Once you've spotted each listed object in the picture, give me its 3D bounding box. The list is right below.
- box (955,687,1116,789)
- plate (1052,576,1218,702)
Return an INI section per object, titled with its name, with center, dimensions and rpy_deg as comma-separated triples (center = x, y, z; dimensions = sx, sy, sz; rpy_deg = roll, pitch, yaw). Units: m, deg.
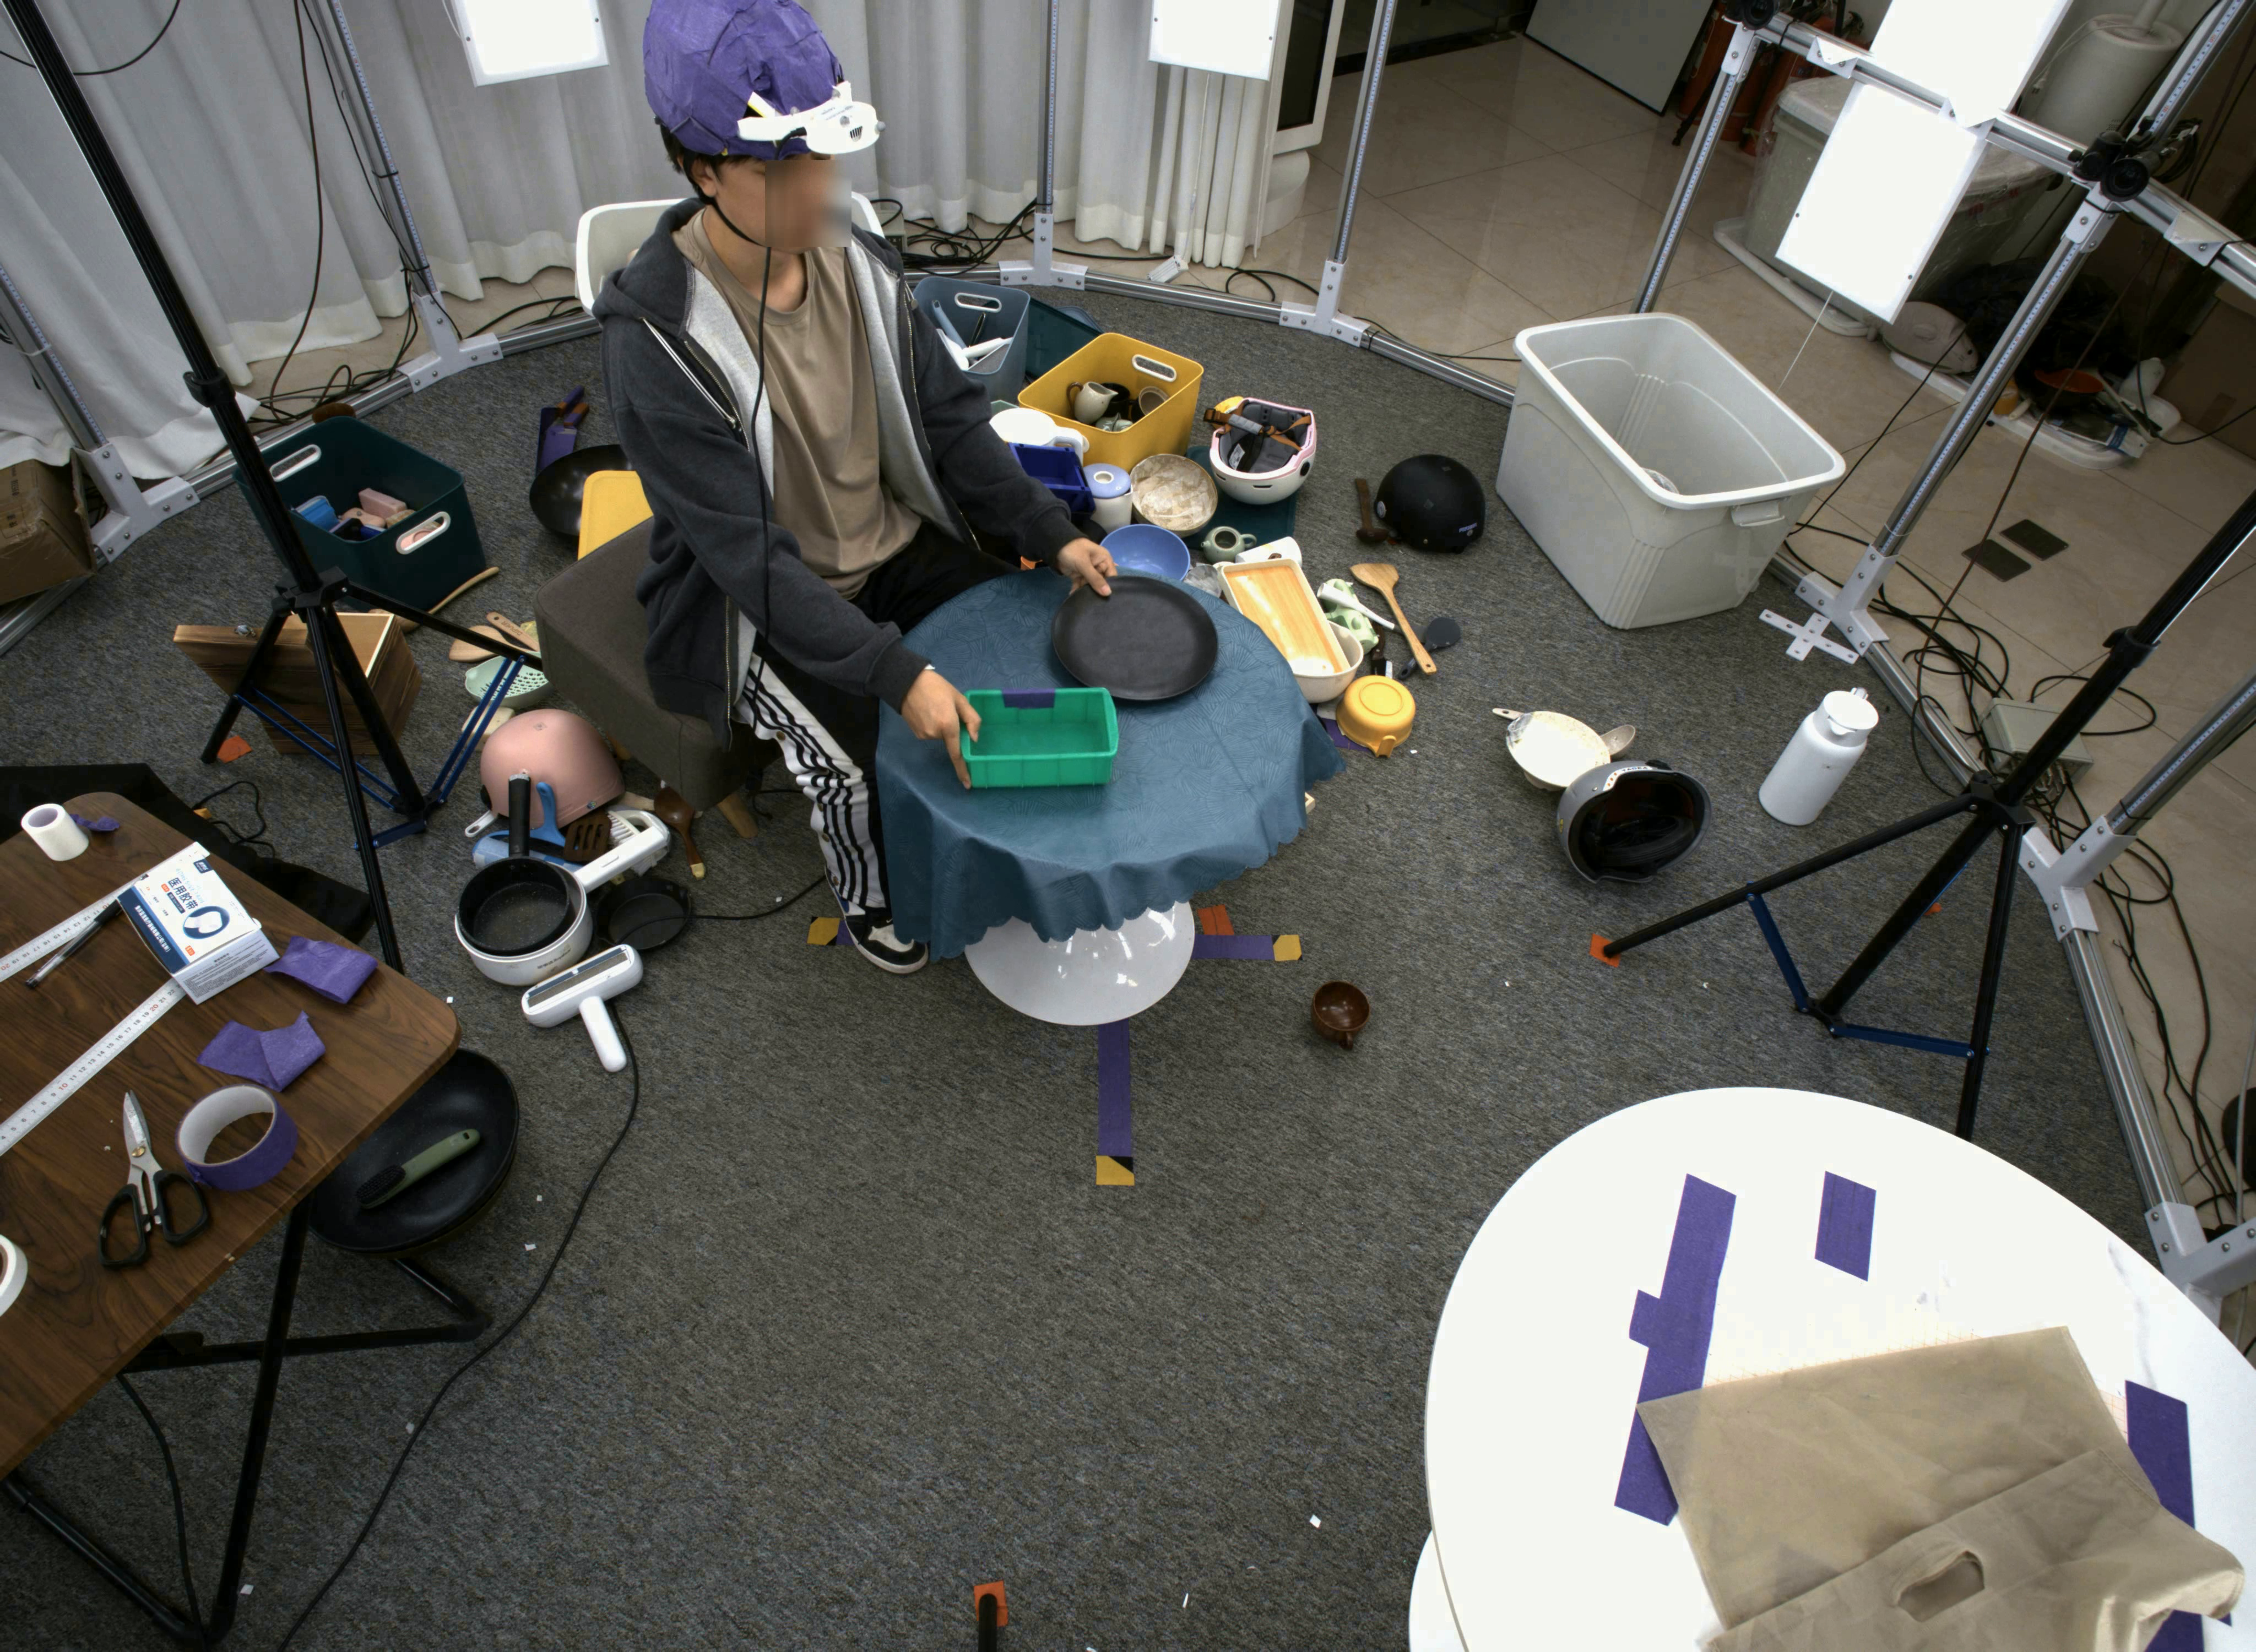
[box]
center = -0.123, -0.115, 1.709
dimensions = 0.210, 0.064, 0.142
rpy_deg = -4, 44, -5
[plate]
center = 0.010, -0.271, 1.876
dimensions = 0.244, 0.023, 0.250
rpy_deg = 3, 54, -5
